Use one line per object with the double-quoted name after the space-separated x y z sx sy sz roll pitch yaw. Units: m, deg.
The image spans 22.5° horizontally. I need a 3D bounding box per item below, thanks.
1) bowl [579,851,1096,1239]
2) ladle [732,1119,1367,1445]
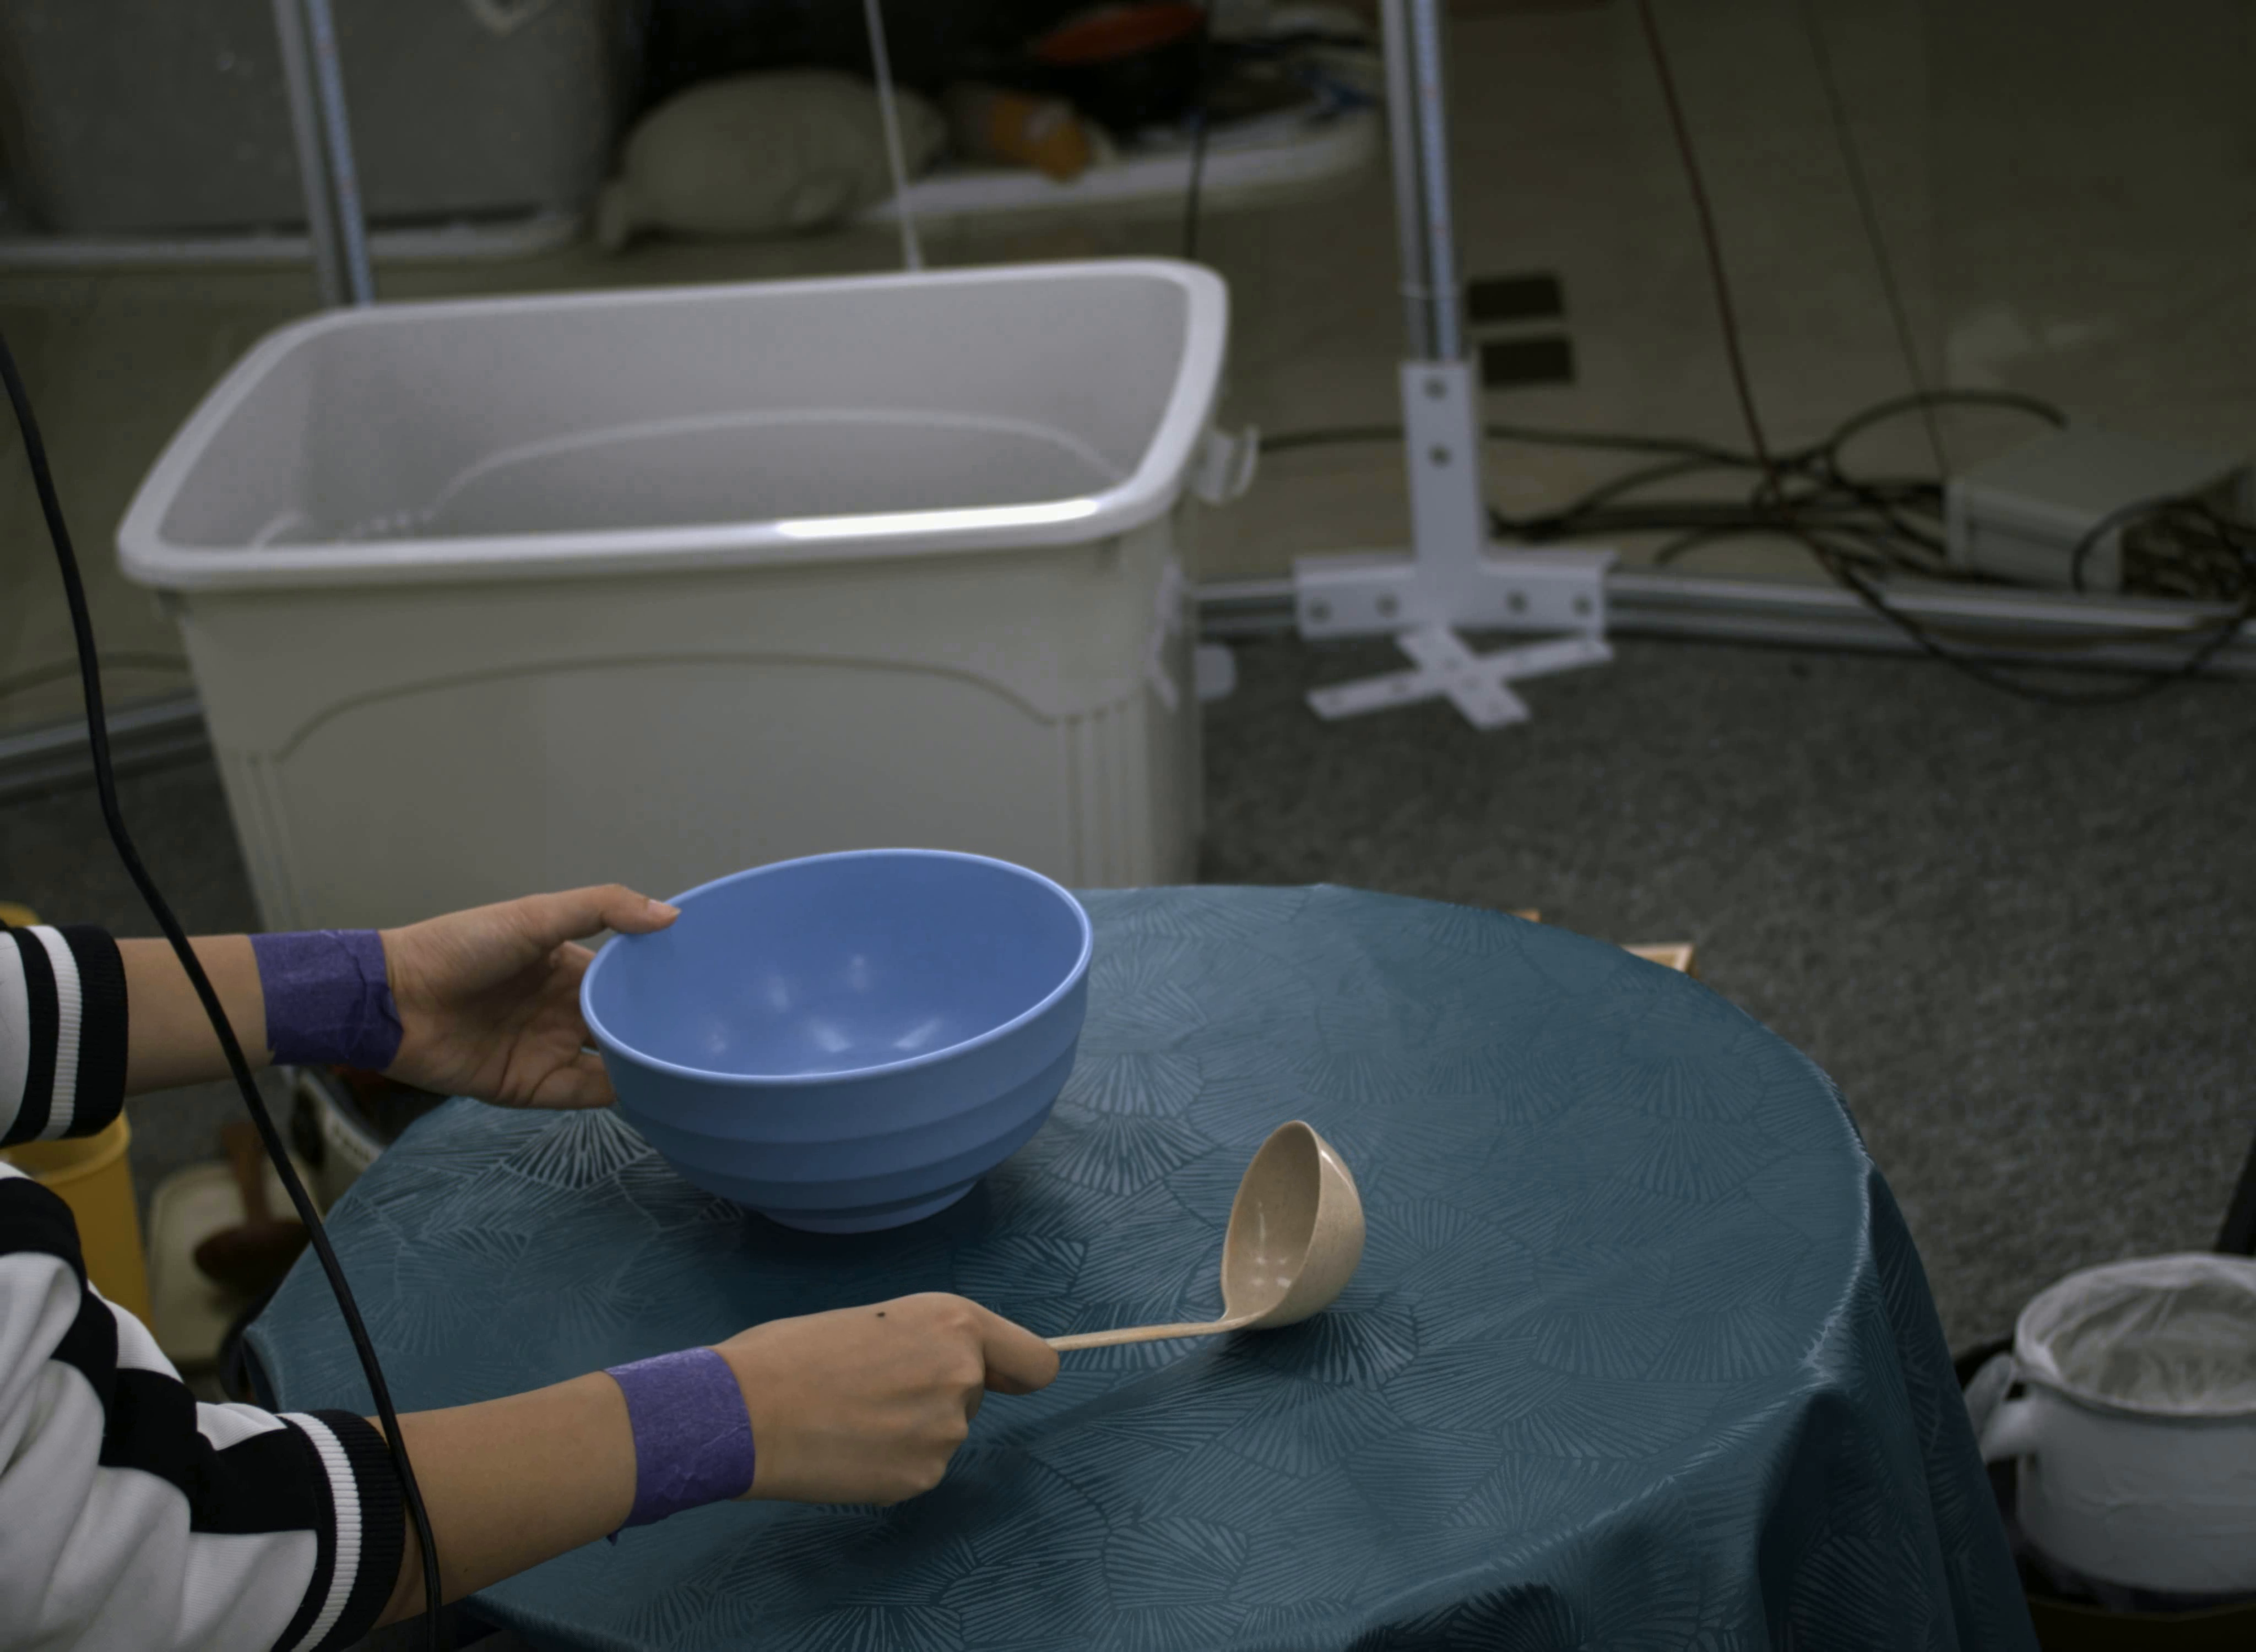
-0.107 0.094 2.161 0.196 0.097 0.193 -3 26 2 "bowl"
-0.032 0.157 1.991 0.253 0.073 0.072 -9 -3 -29 "ladle"
